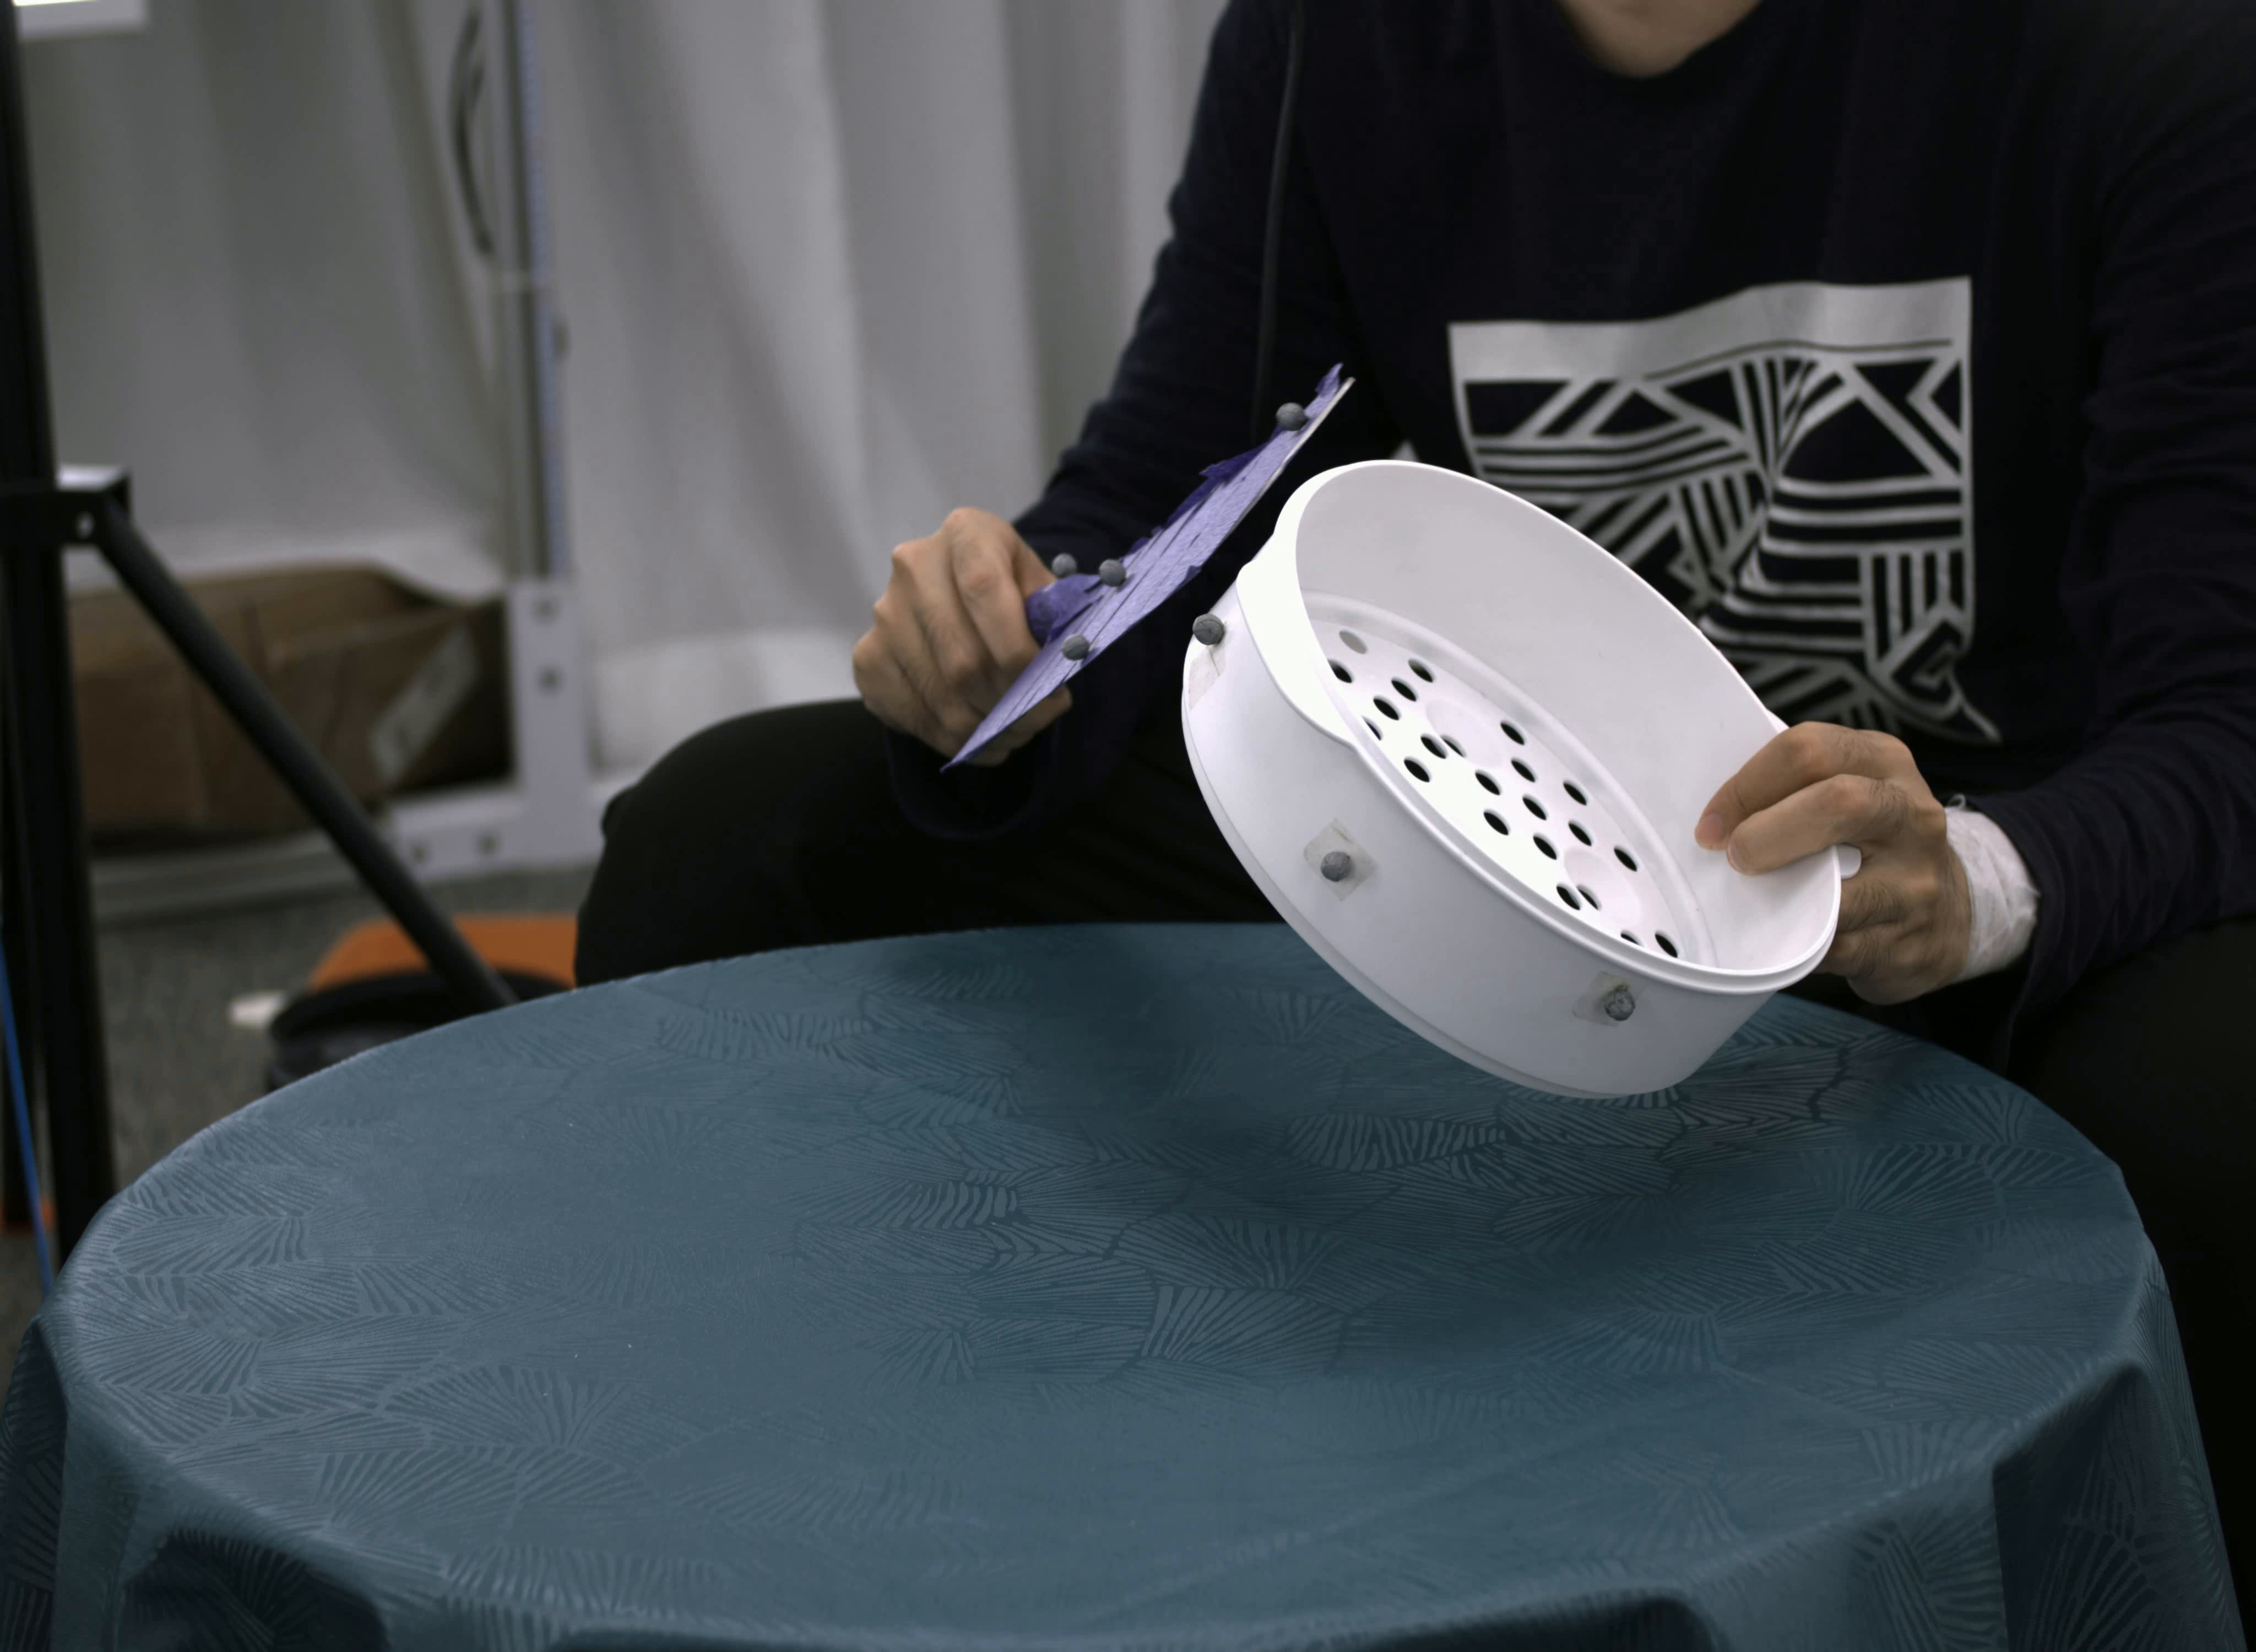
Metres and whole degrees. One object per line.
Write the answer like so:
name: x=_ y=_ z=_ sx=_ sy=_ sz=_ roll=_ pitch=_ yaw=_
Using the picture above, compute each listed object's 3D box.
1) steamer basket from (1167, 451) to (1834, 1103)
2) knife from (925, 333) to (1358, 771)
steamer basket: x=0.102 y=-0.012 z=1.522 sx=0.224 sy=0.070 sz=0.205 roll=17 pitch=38 yaw=-37
knife: x=-0.018 y=-0.065 z=1.679 sx=0.103 sy=0.032 sz=0.318 roll=-51 pitch=4 yaw=-27
